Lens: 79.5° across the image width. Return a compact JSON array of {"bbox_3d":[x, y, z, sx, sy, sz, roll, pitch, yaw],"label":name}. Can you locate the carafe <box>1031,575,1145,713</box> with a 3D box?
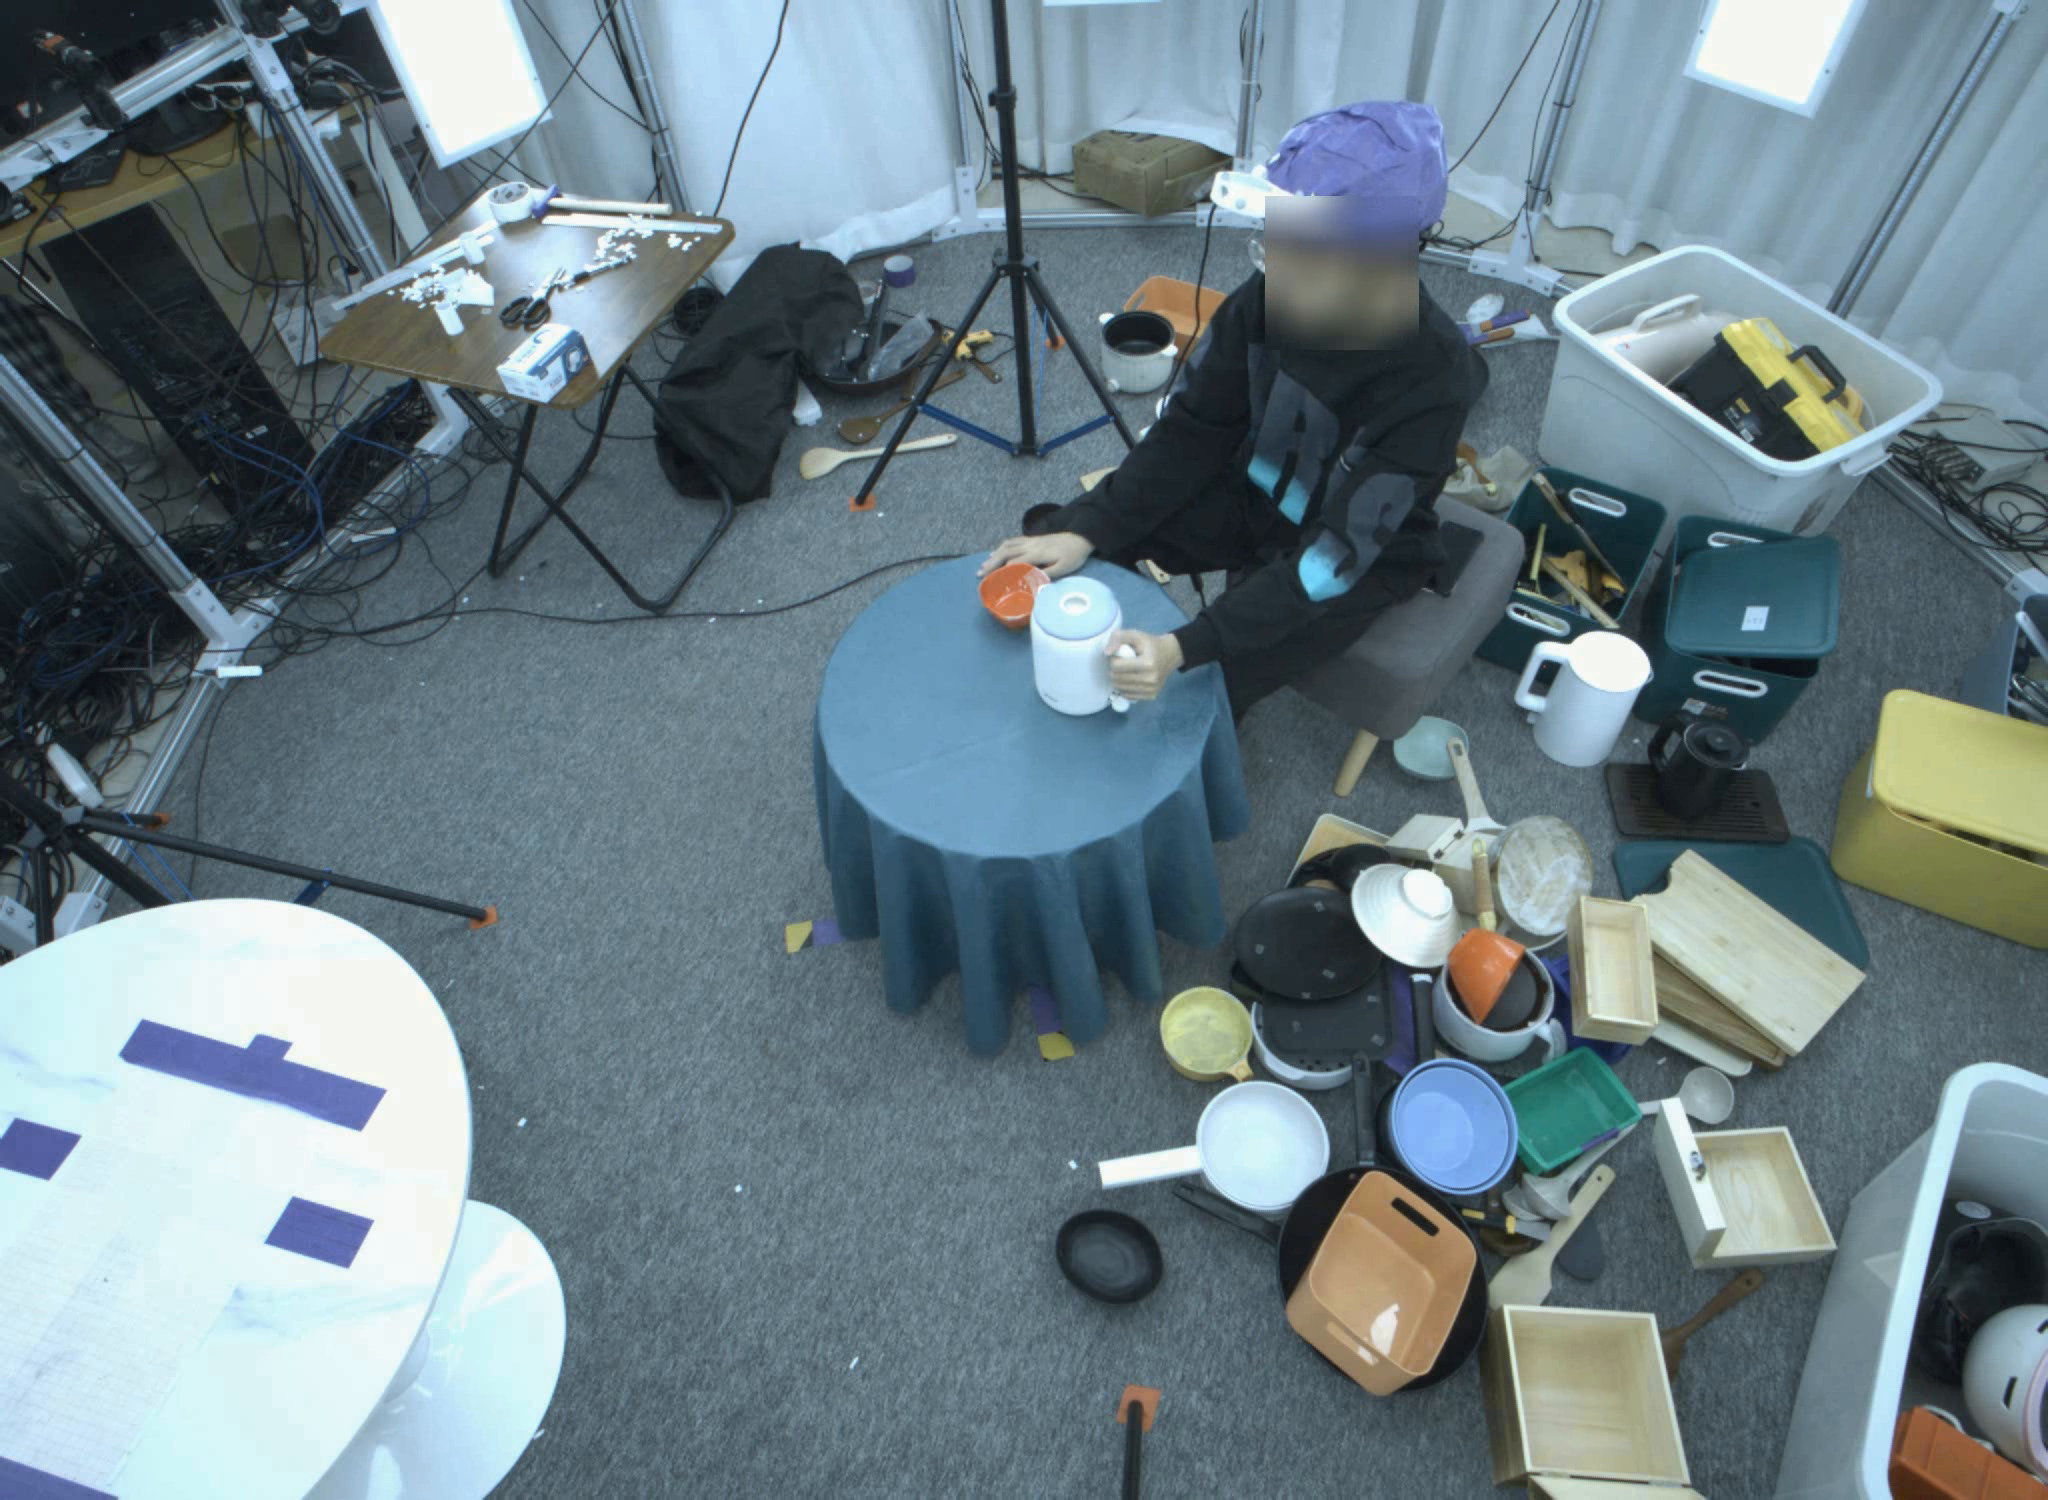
[{"bbox_3d":[0.096,-0.140,1.774,0.188,0.184,0.133,35,65,22],"label":"carafe"}]

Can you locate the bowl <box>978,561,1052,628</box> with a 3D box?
[{"bbox_3d":[-0.010,-0.236,1.917,0.118,0.052,0.117,-3,54,5],"label":"bowl"}]
